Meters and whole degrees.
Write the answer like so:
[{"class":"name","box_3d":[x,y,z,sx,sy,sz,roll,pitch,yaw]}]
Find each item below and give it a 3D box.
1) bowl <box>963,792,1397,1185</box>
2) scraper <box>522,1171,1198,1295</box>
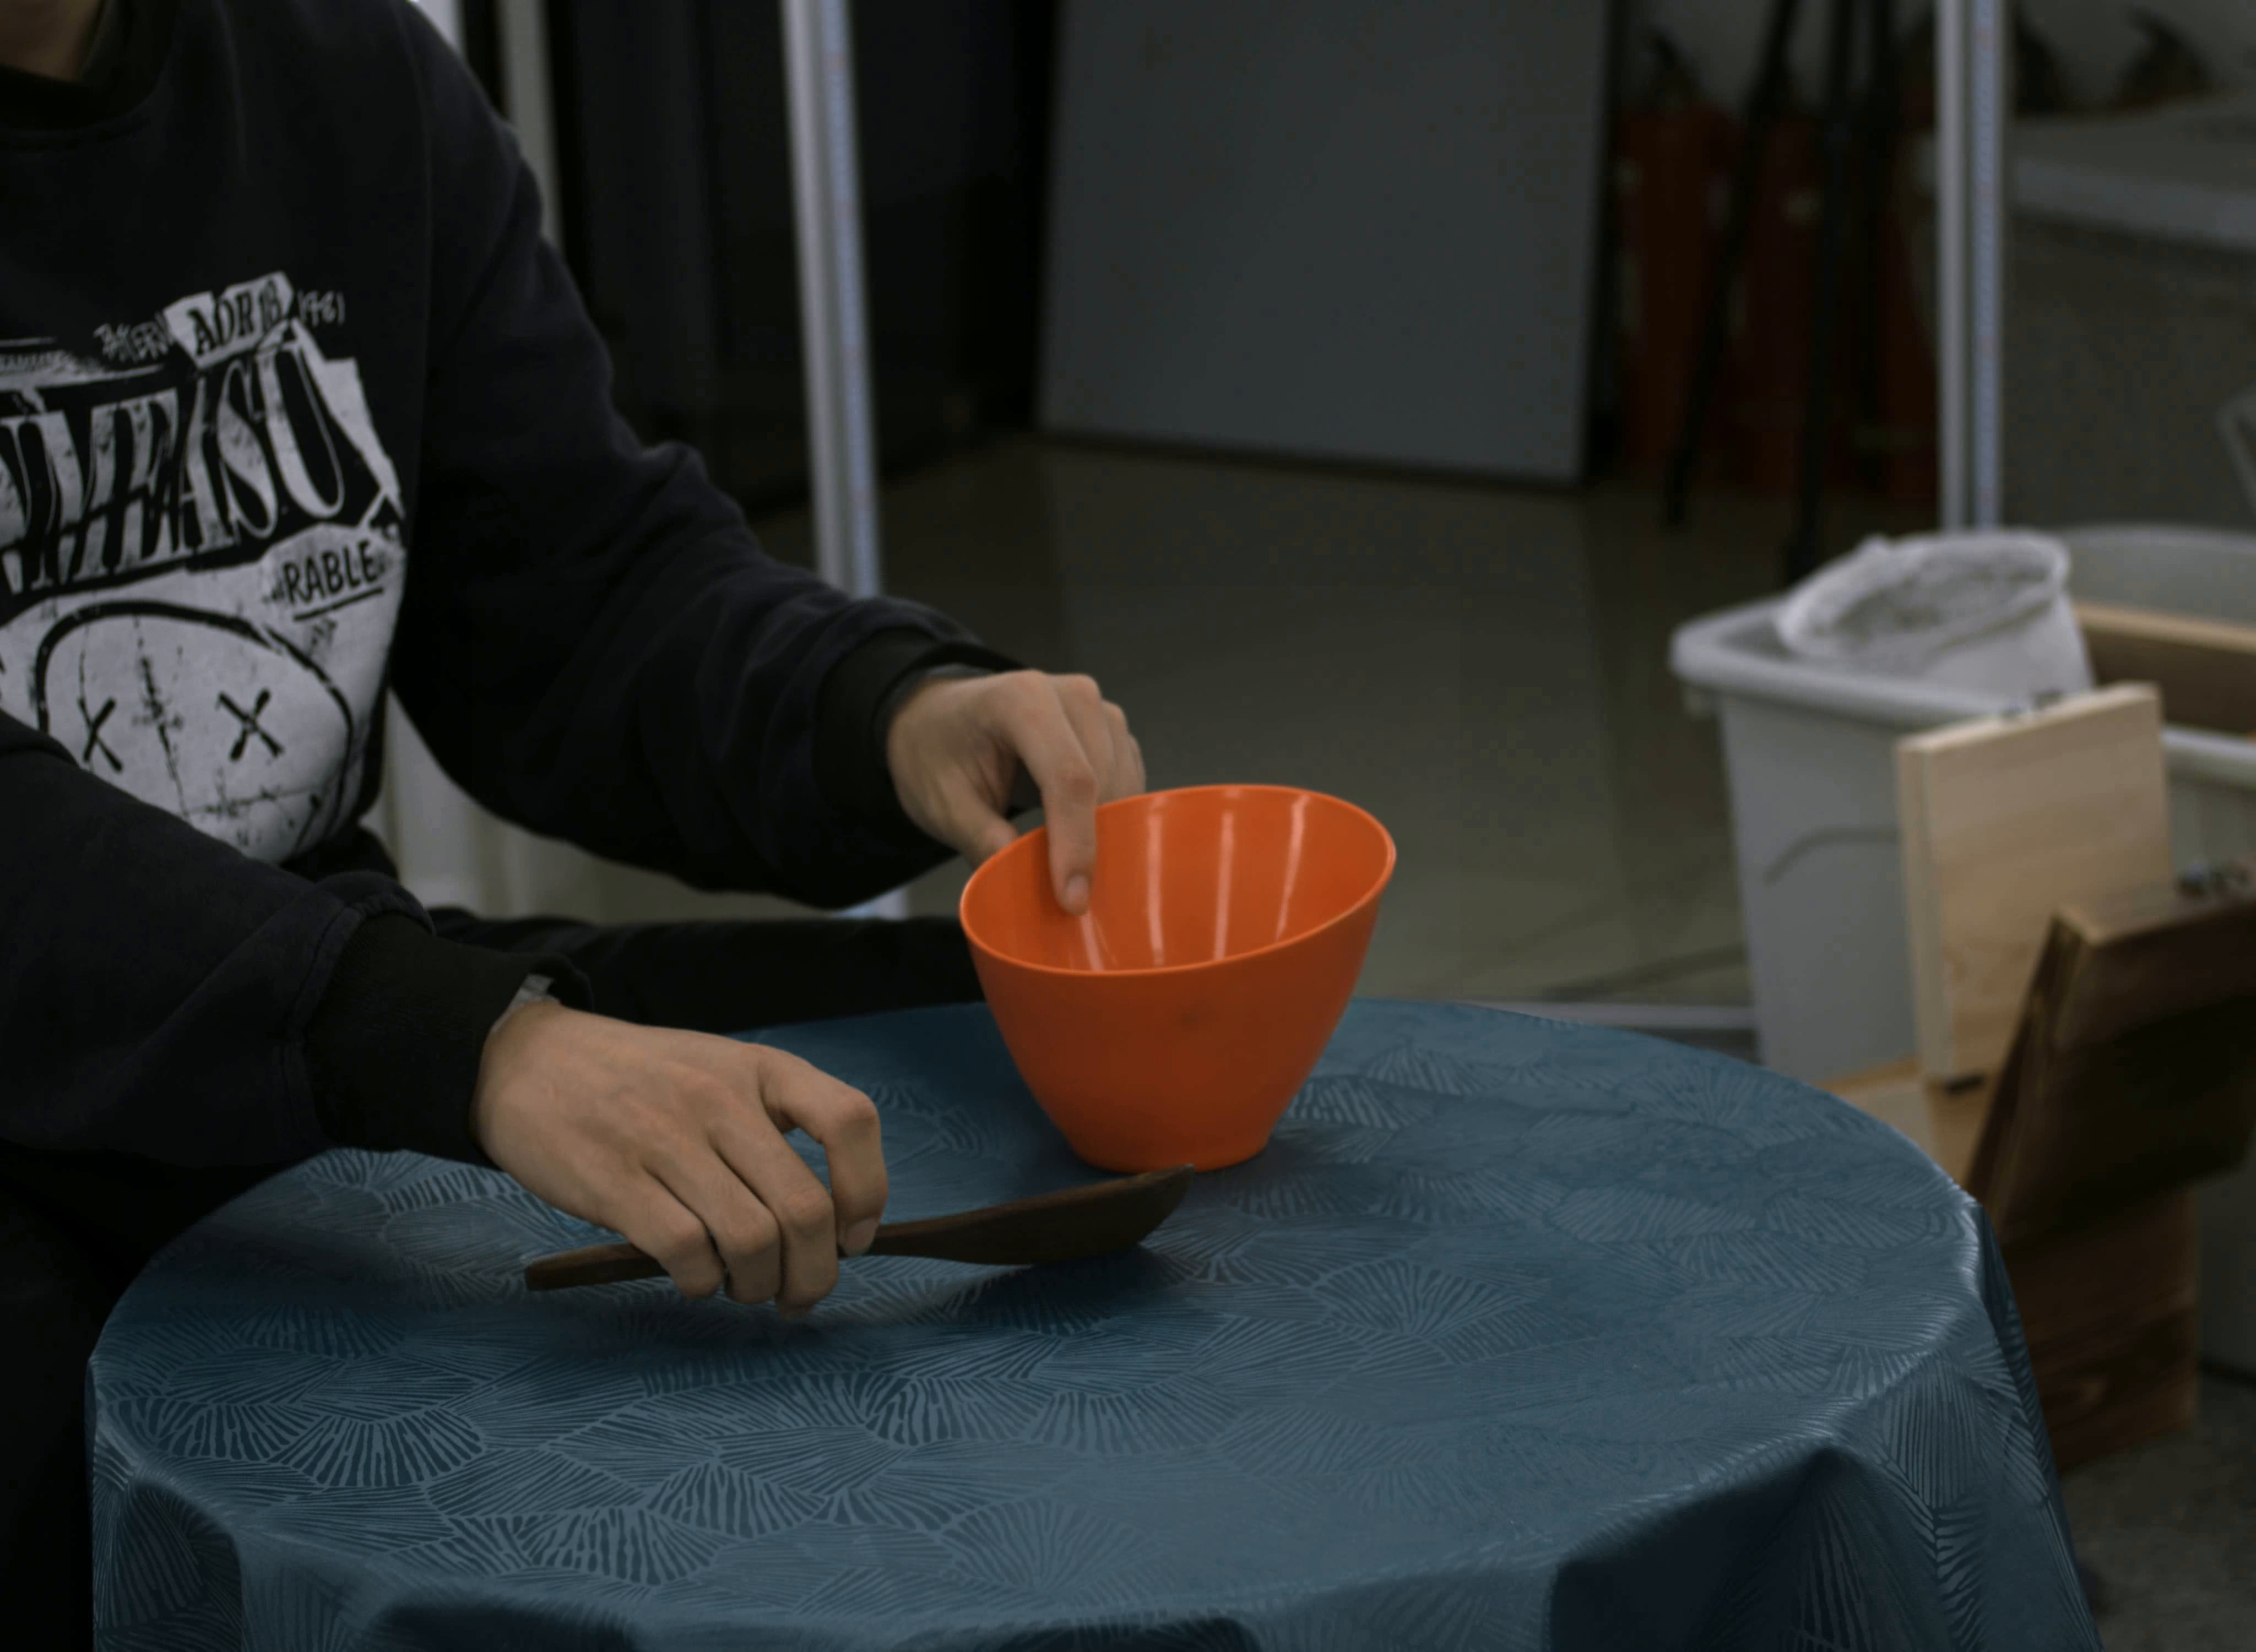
[{"class":"bowl","box_3d":[0.019,0.058,1.809,0.146,0.106,0.148,-3,15,0]},{"class":"scraper","box_3d":[-0.082,0.129,1.660,0.207,0.011,0.076,-4,-20,-13]}]
